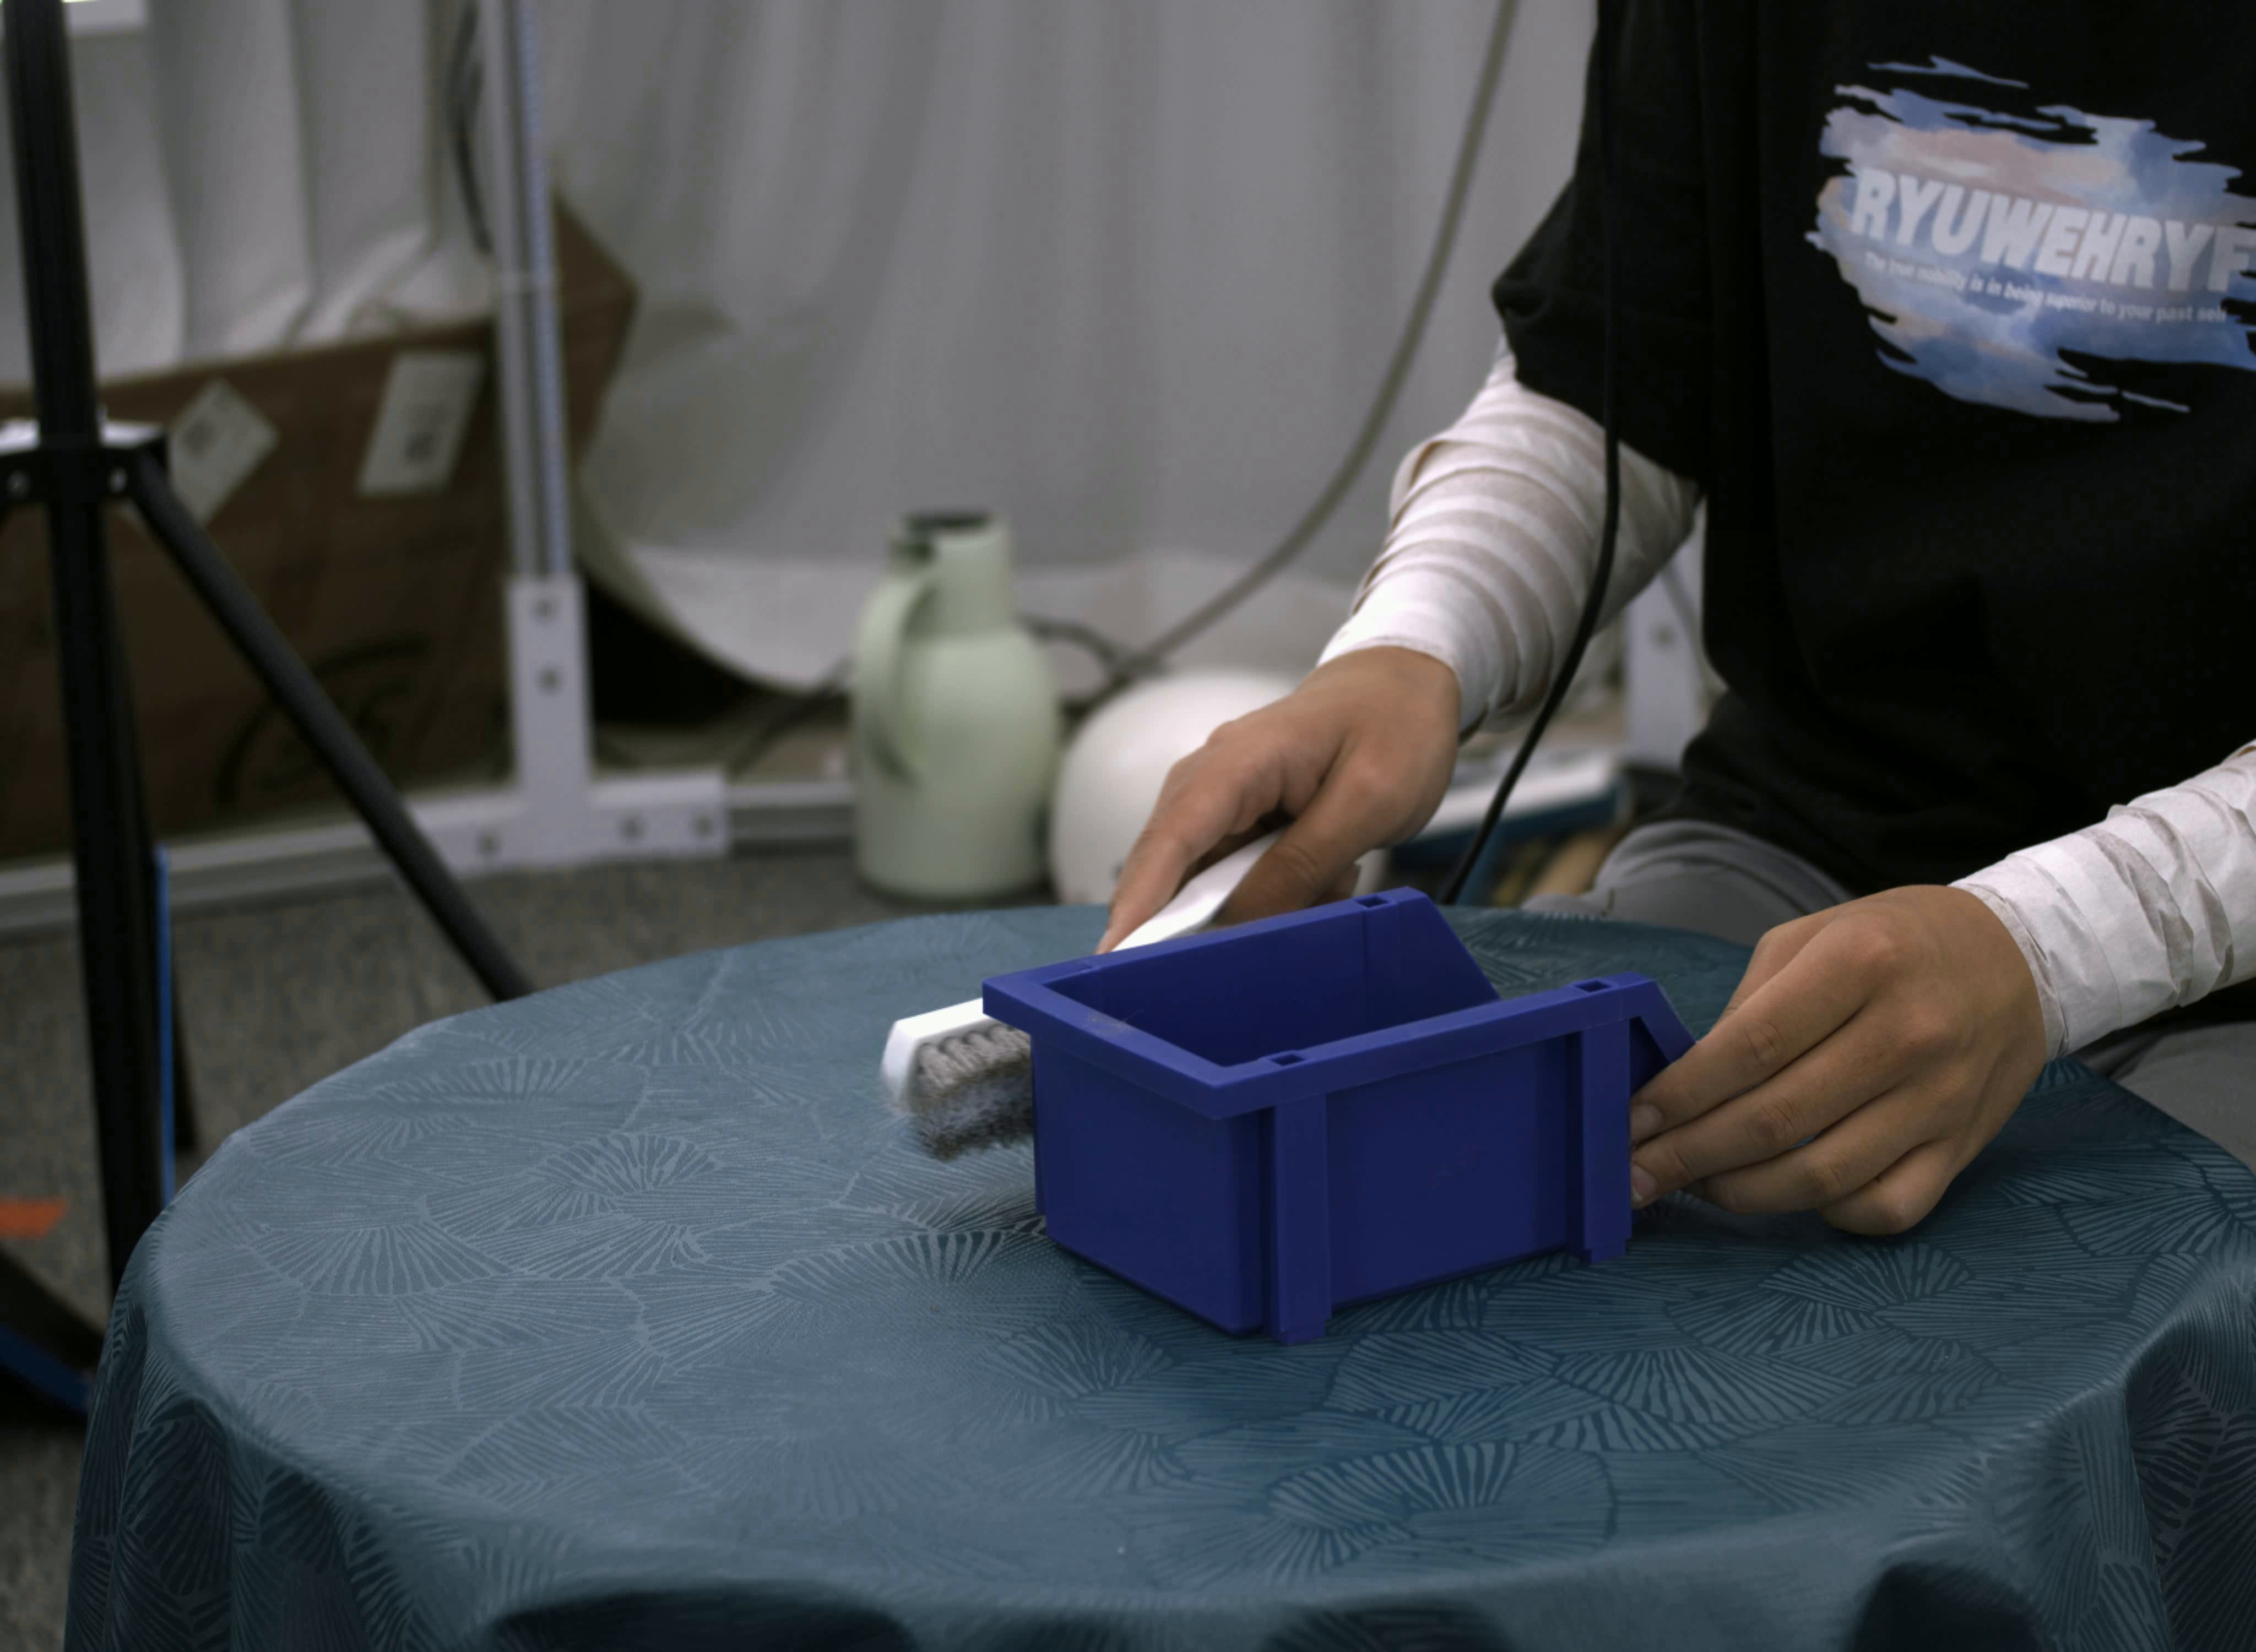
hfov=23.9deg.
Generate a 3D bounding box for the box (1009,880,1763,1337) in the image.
[{"bbox_3d":[0.073,0.076,1.512,0.175,0.082,0.127,-12,18,-28],"label":"box"}]

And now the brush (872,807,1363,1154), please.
[{"bbox_3d":[0.013,0.044,1.605,0.051,0.034,0.239,26,32,32],"label":"brush"}]
